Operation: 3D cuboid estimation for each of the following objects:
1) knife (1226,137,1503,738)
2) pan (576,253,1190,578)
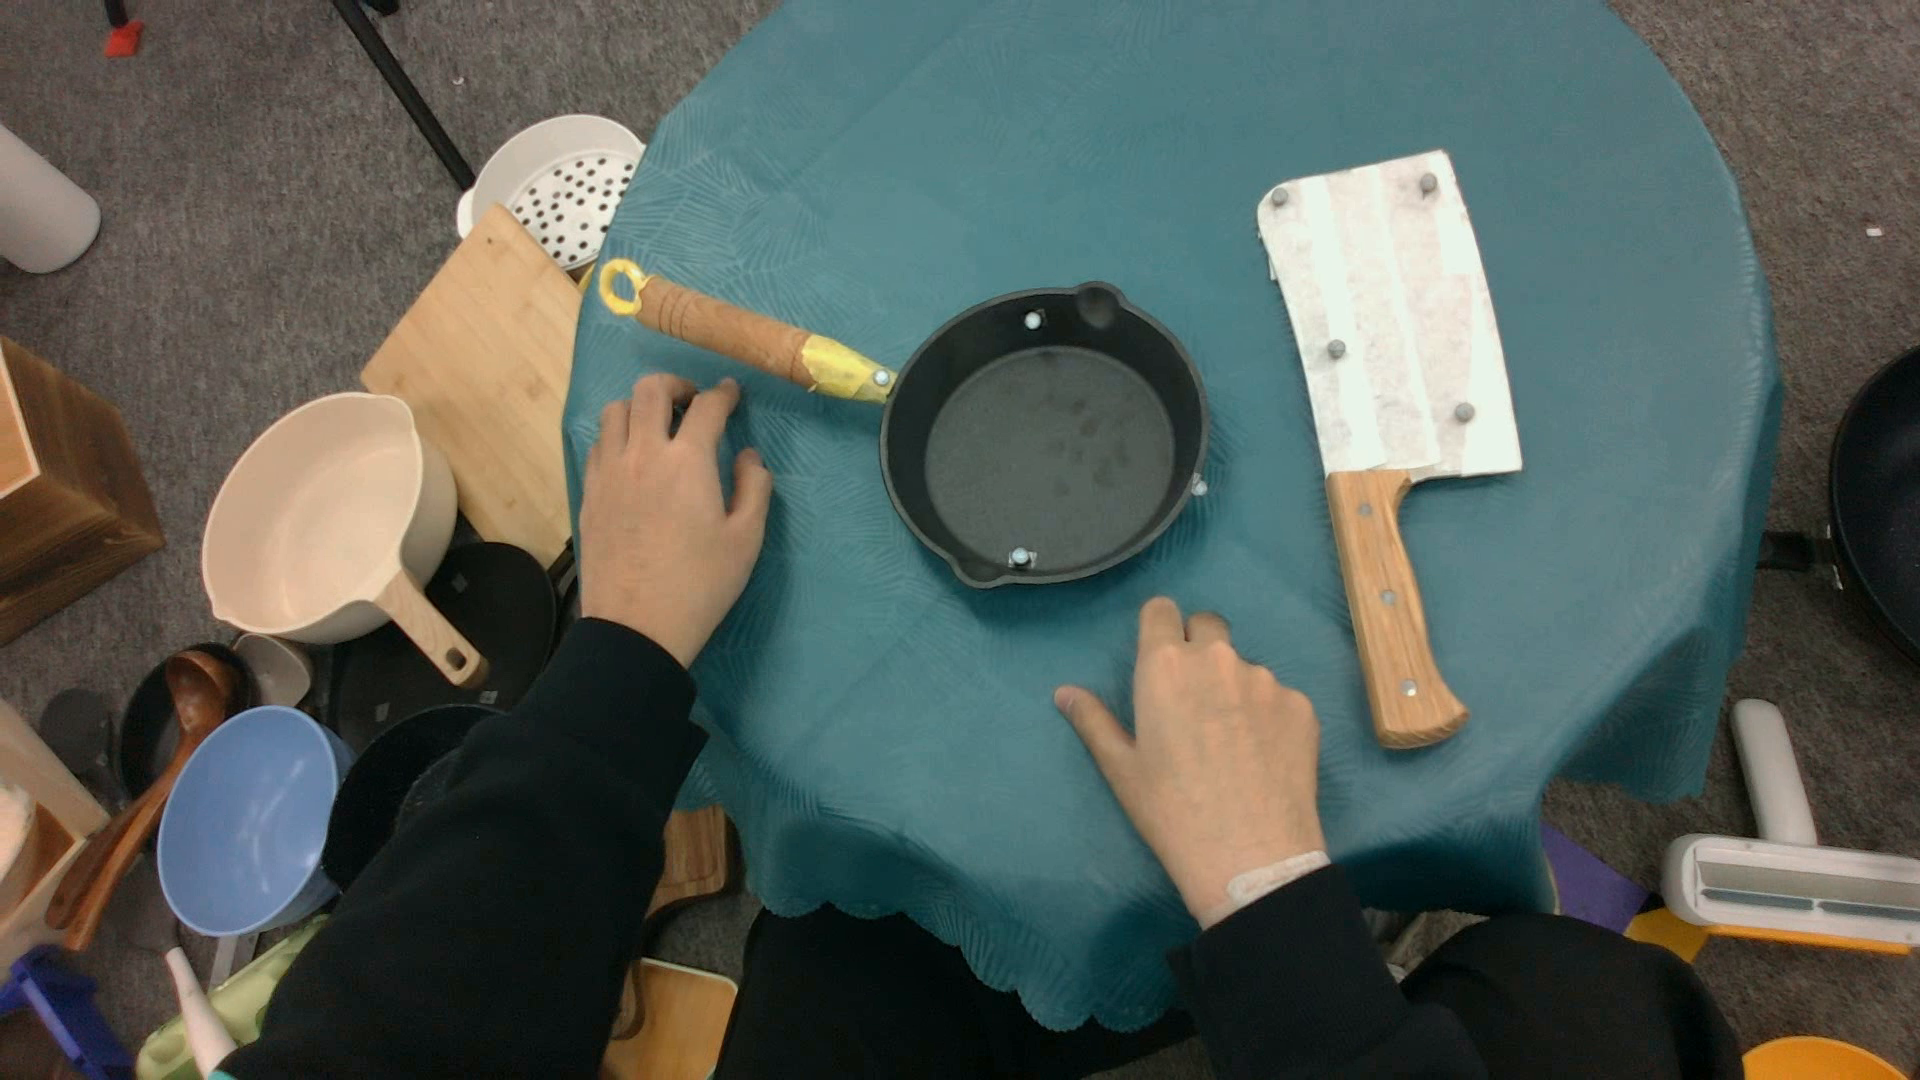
[{"bbox_3d":[0.191,-0.061,0.645,0.114,0.021,0.316,-3,64,8],"label":"knife"},{"bbox_3d":[-0.046,-0.083,0.678,0.324,0.049,0.169,20,73,16],"label":"pan"}]
